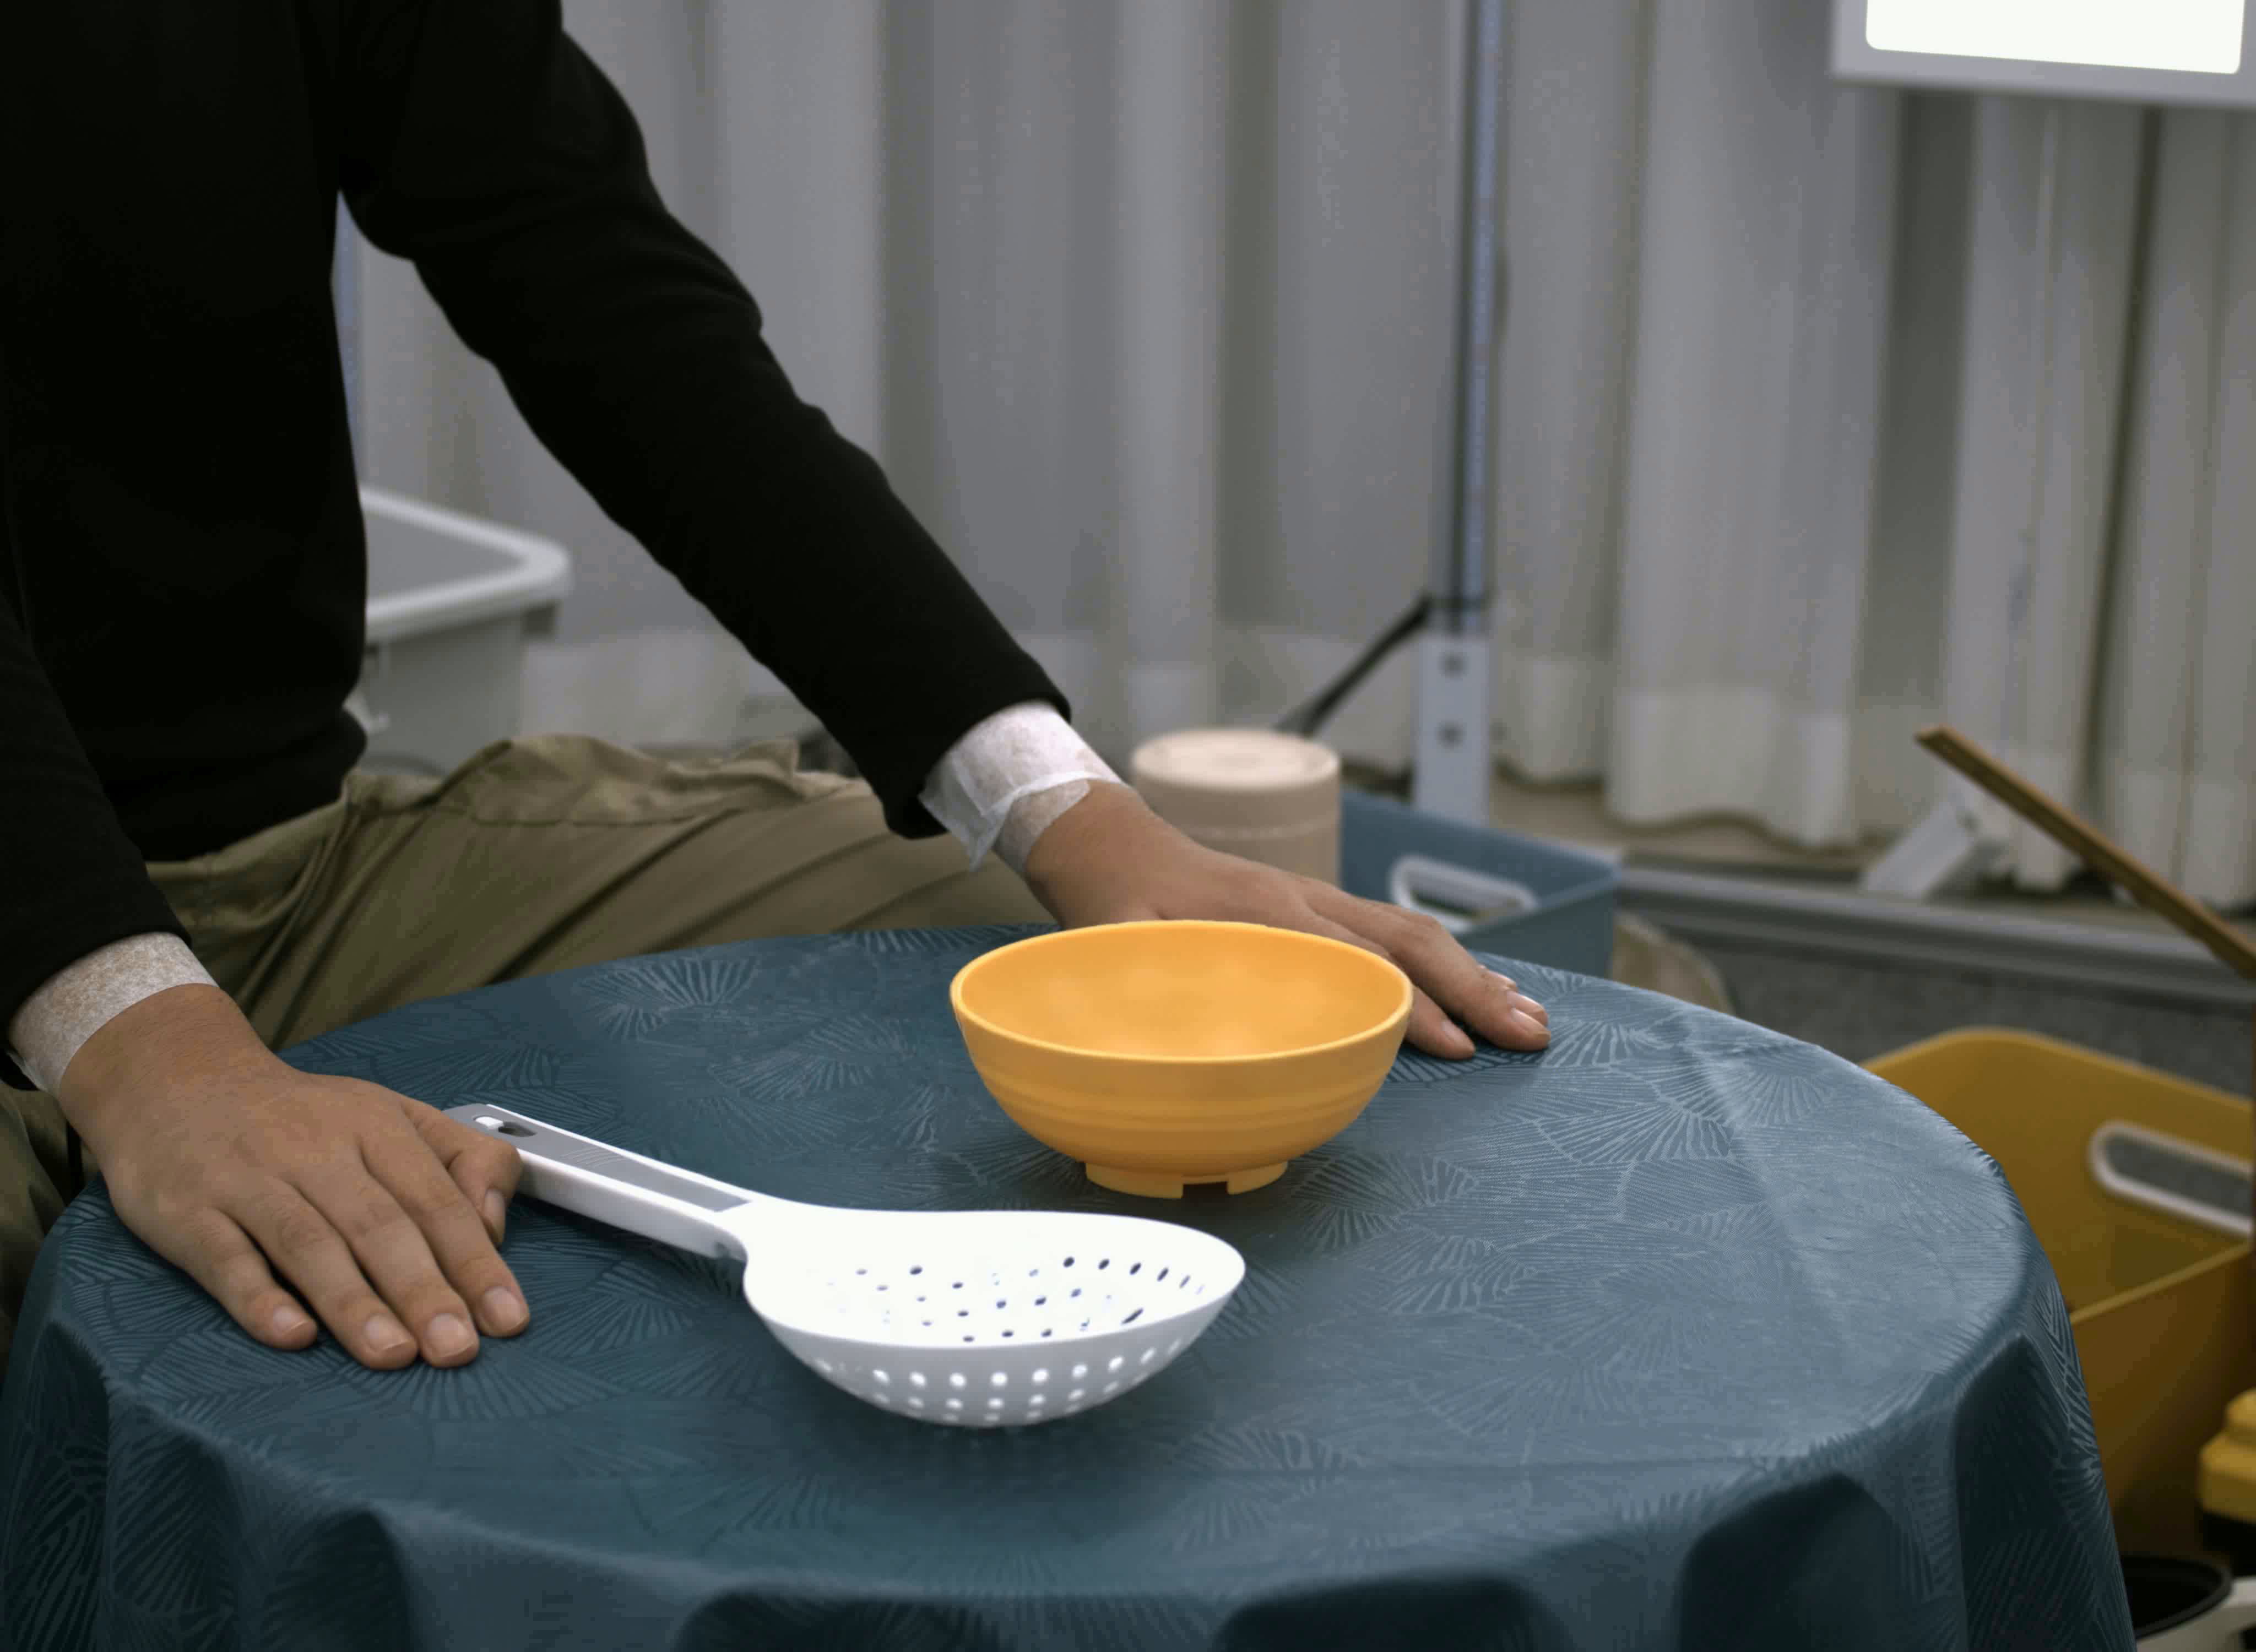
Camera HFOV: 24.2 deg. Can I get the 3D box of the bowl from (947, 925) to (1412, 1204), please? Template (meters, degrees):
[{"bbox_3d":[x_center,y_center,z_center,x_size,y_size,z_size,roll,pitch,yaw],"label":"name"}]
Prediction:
[{"bbox_3d":[0.015,0.079,1.637,0.145,0.060,0.144,2,15,0],"label":"bowl"}]

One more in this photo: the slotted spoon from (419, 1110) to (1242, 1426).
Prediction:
[{"bbox_3d":[-0.104,0.117,1.515,0.137,0.046,0.345,-11,18,-38],"label":"slotted spoon"}]
